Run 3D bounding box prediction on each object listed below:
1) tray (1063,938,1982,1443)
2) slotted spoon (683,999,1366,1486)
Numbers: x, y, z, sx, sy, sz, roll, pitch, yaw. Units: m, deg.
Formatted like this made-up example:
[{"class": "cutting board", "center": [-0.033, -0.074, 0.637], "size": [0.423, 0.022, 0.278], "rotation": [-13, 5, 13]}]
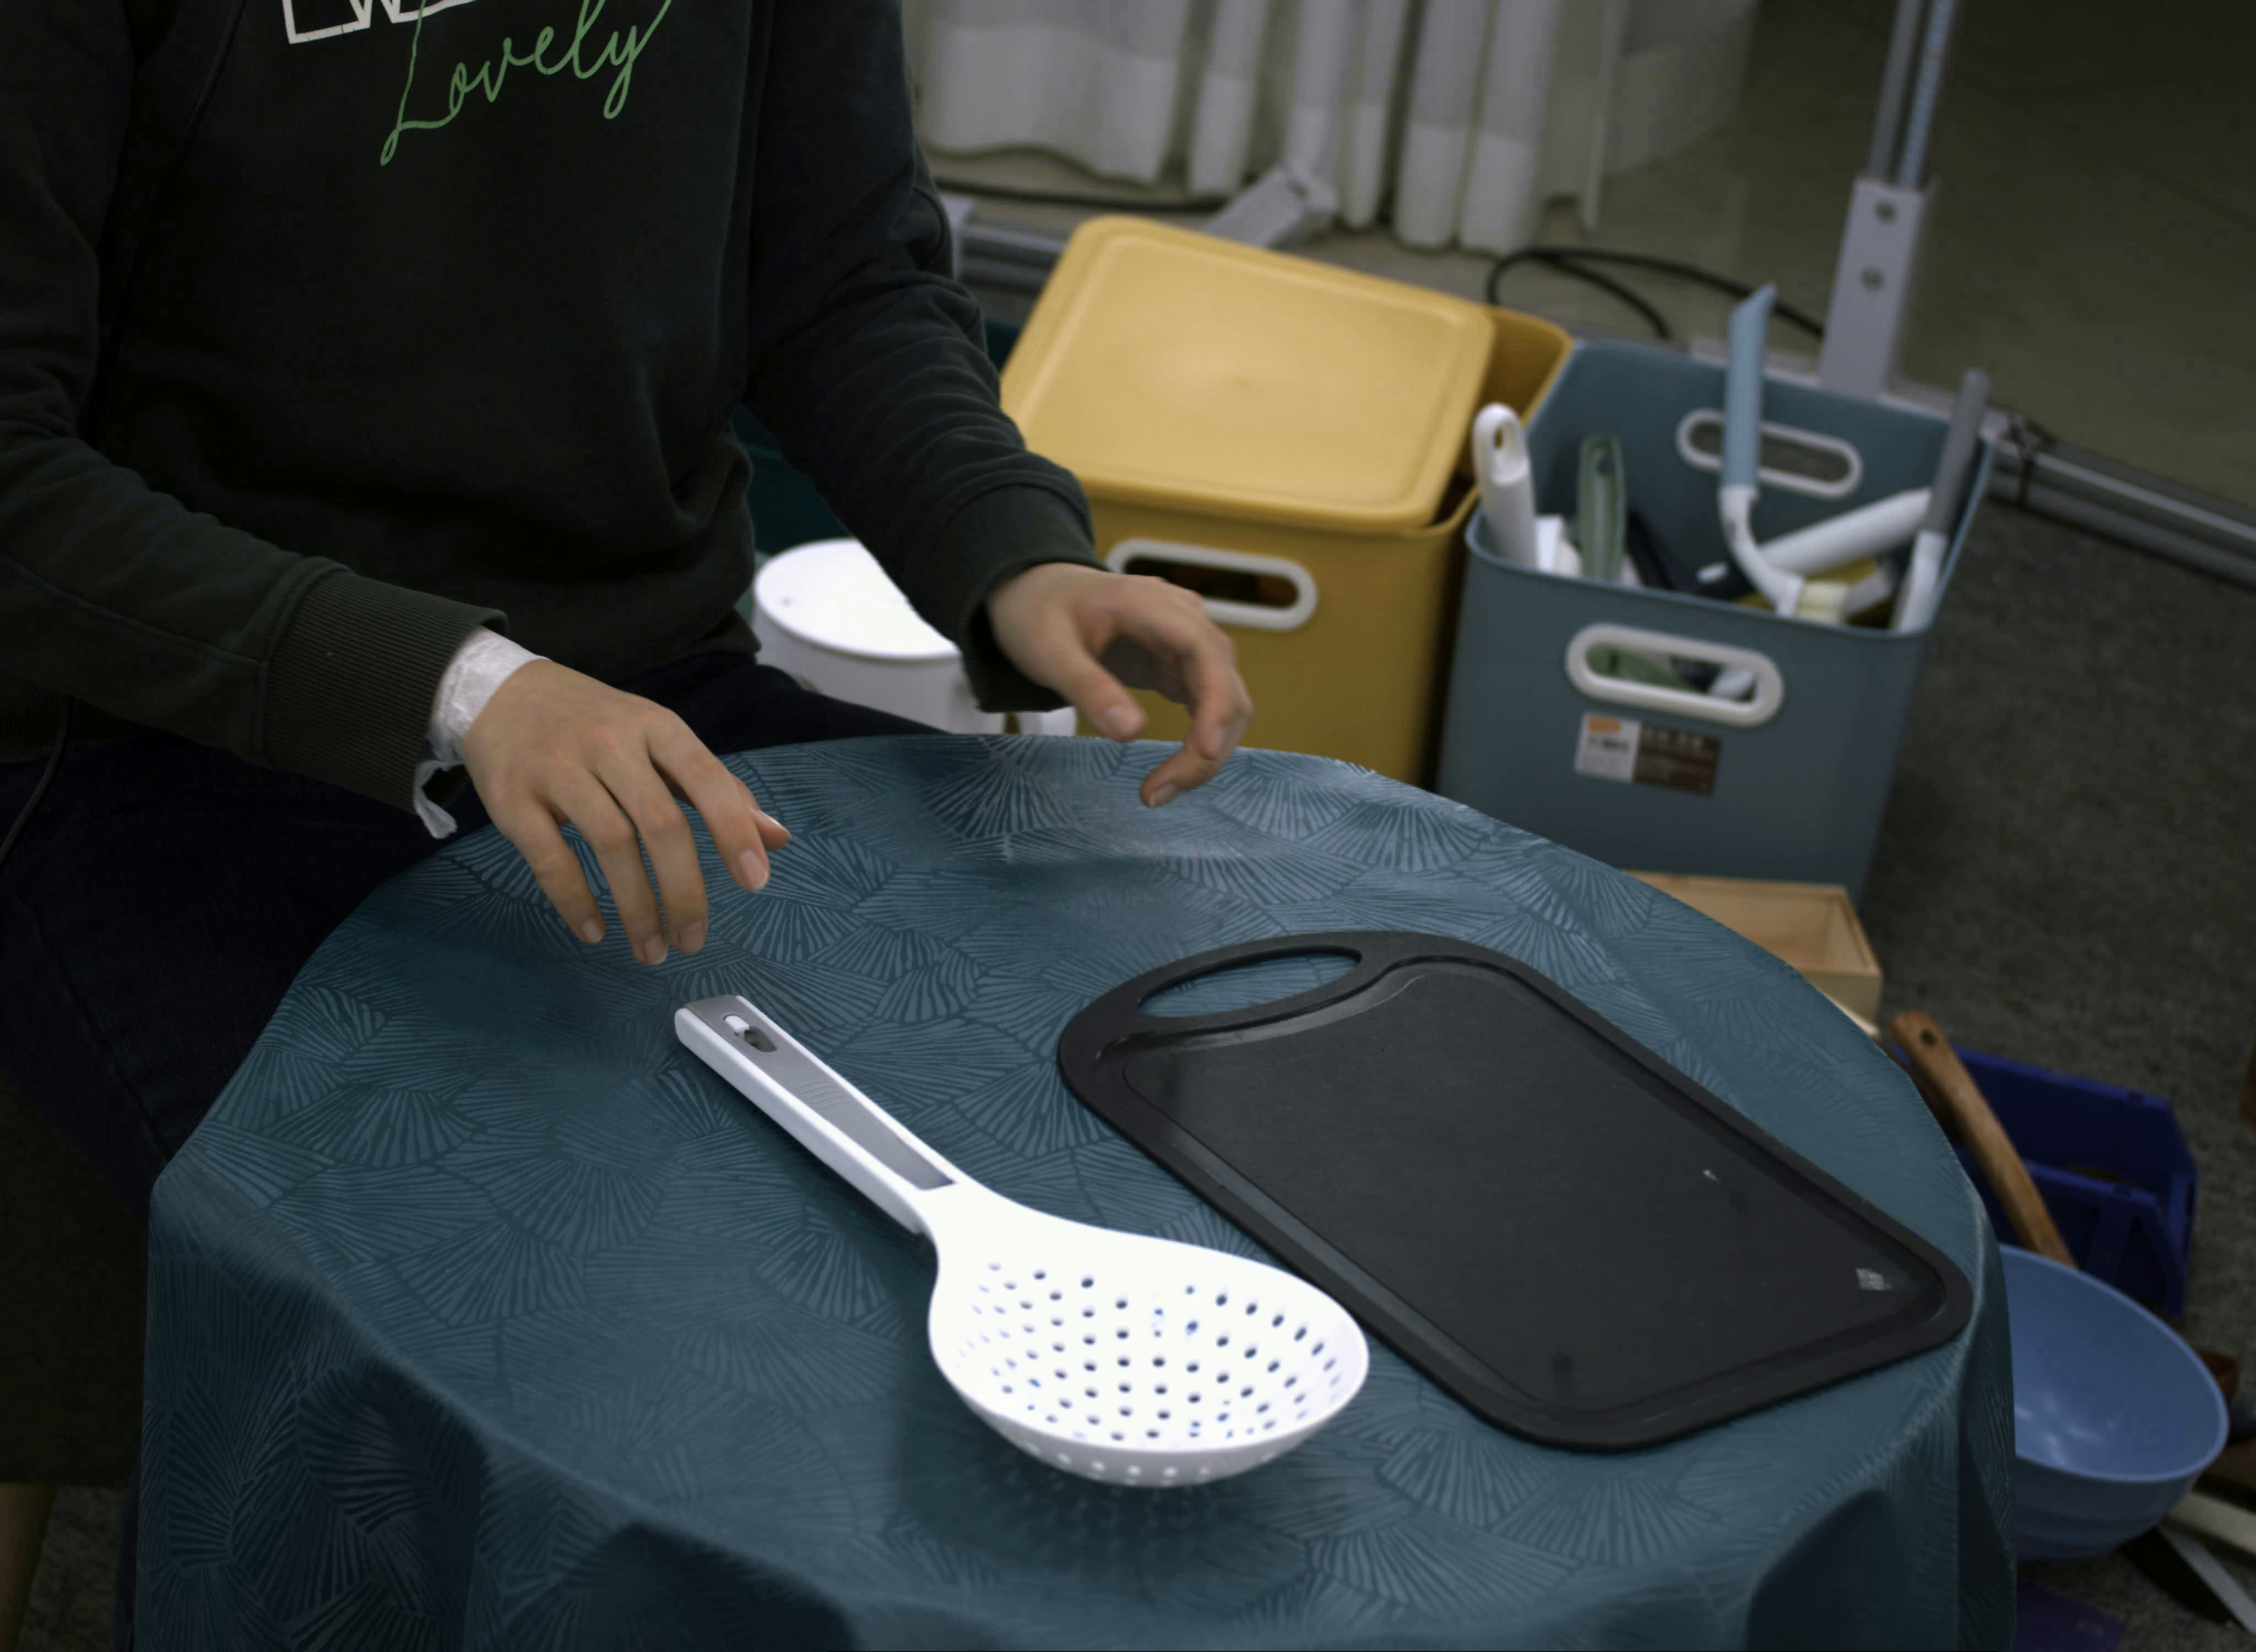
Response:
[{"class": "tray", "center": [0.126, 0.116, 1.837], "size": [0.210, 0.010, 0.328], "rotation": [-13, 32, -34]}, {"class": "slotted spoon", "center": [-0.053, 0.129, 1.728], "size": [0.135, 0.045, 0.353], "rotation": [-10, 30, -31]}]
